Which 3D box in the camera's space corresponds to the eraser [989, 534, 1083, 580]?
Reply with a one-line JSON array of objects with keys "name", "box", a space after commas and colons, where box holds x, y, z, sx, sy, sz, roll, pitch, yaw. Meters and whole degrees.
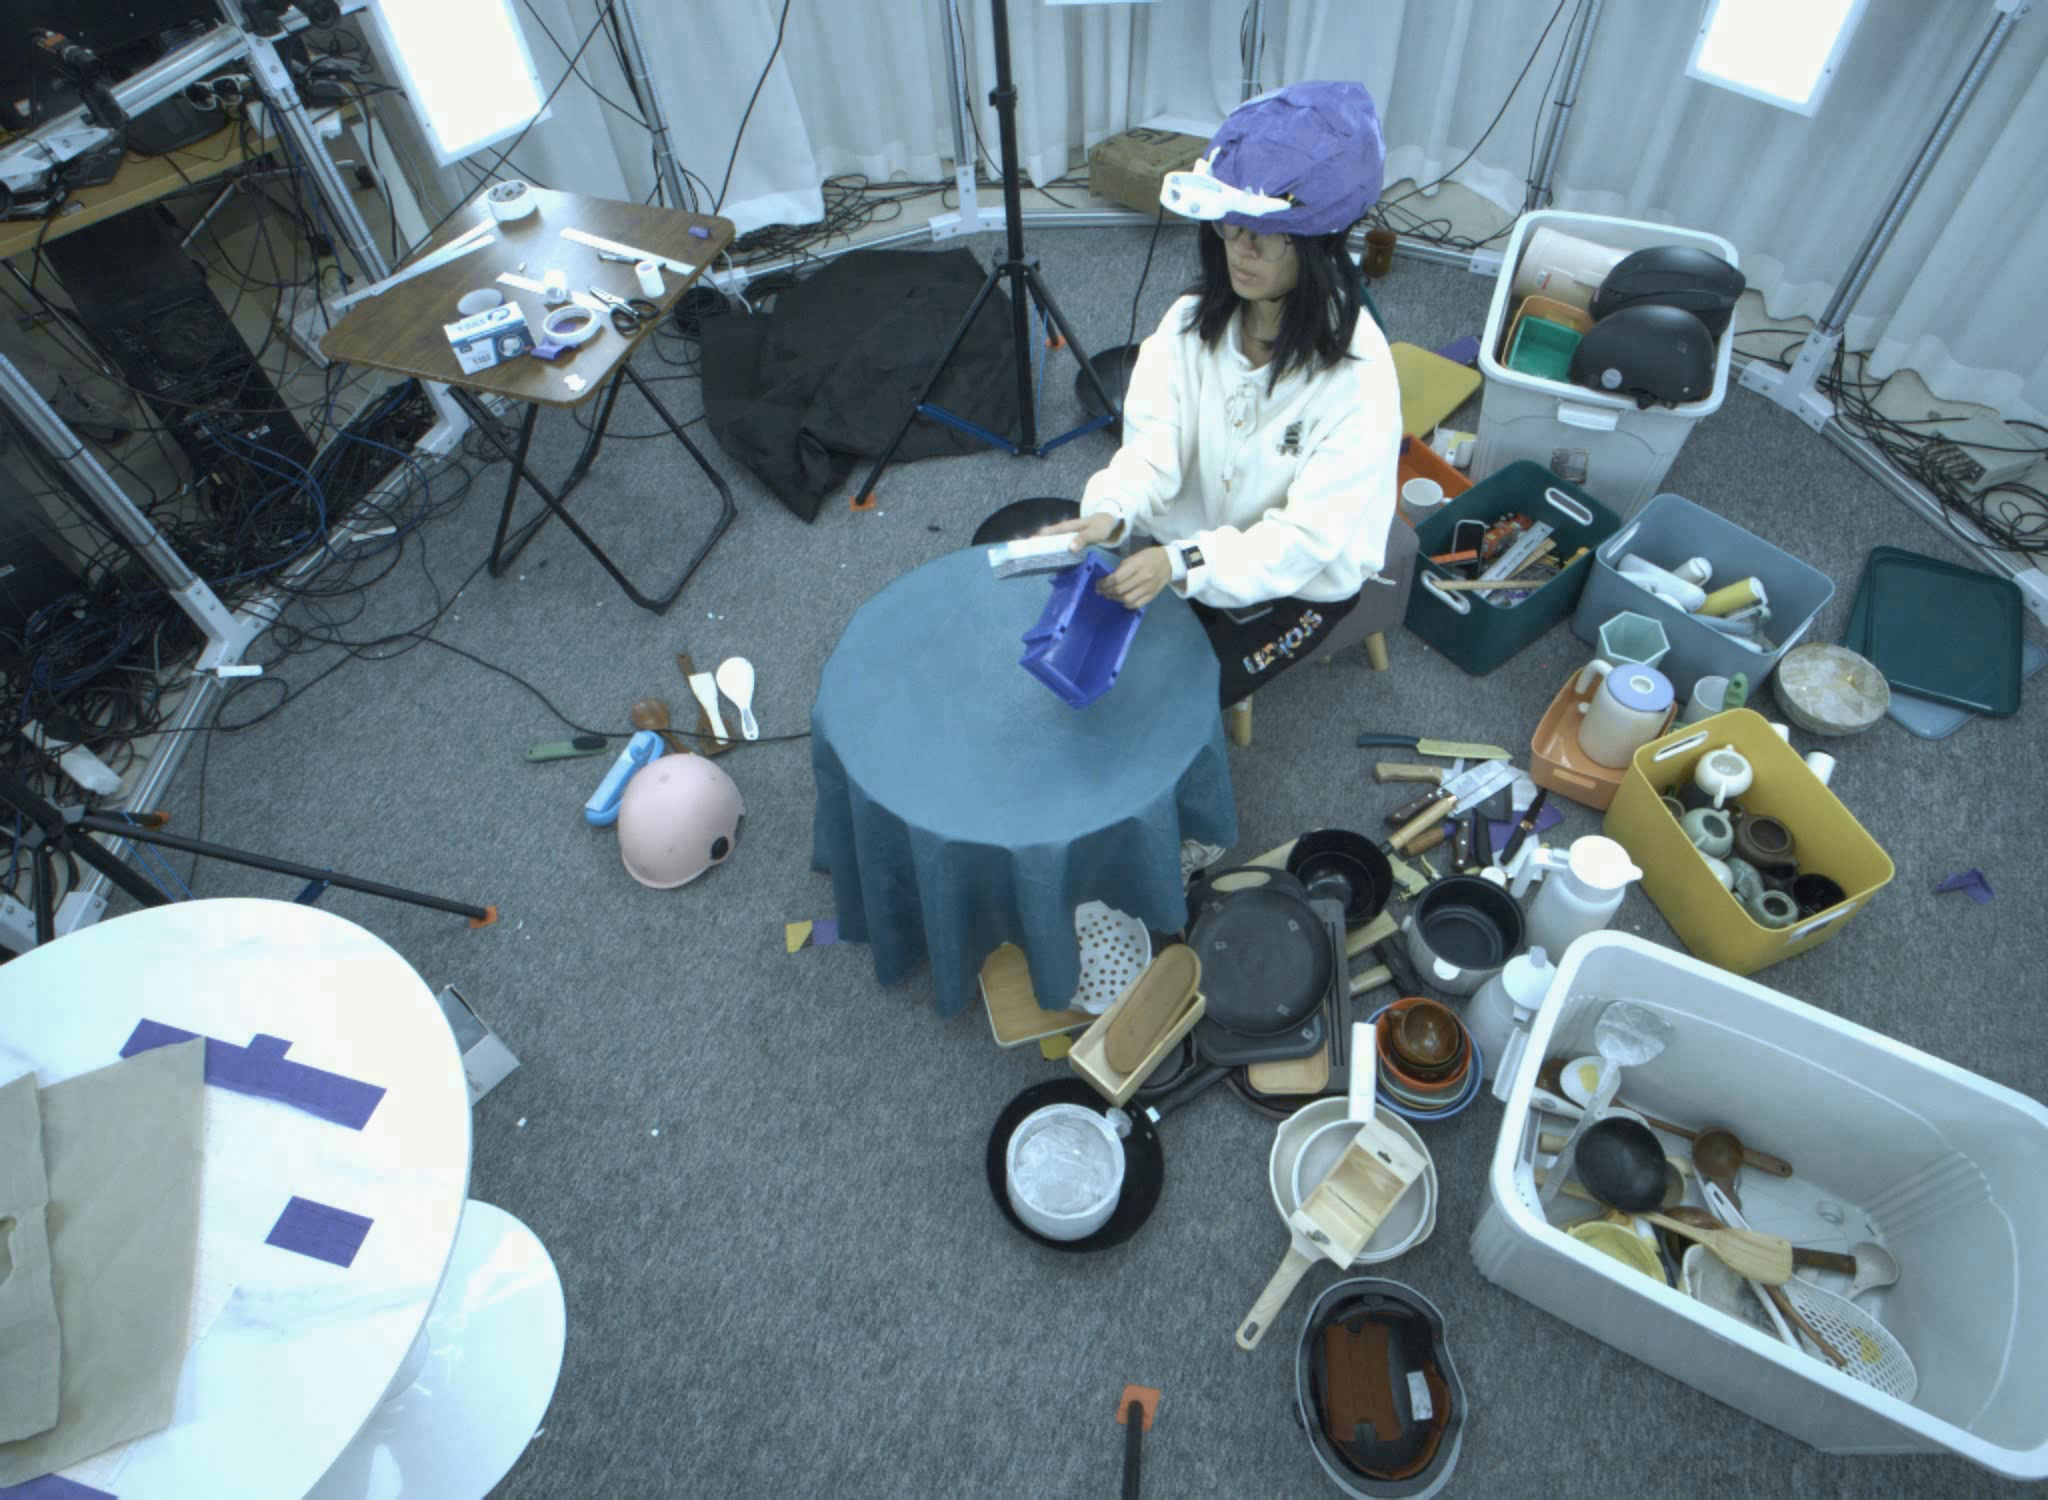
[{"name": "eraser", "box": [0.019, -0.265, 1.675, 0.136, 0.049, 0.046, -18, 92, -46]}]

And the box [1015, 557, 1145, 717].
[{"name": "box", "box": [0.076, -0.154, 1.712, 0.080, 0.127, 0.179, -9, 50, 48]}]
